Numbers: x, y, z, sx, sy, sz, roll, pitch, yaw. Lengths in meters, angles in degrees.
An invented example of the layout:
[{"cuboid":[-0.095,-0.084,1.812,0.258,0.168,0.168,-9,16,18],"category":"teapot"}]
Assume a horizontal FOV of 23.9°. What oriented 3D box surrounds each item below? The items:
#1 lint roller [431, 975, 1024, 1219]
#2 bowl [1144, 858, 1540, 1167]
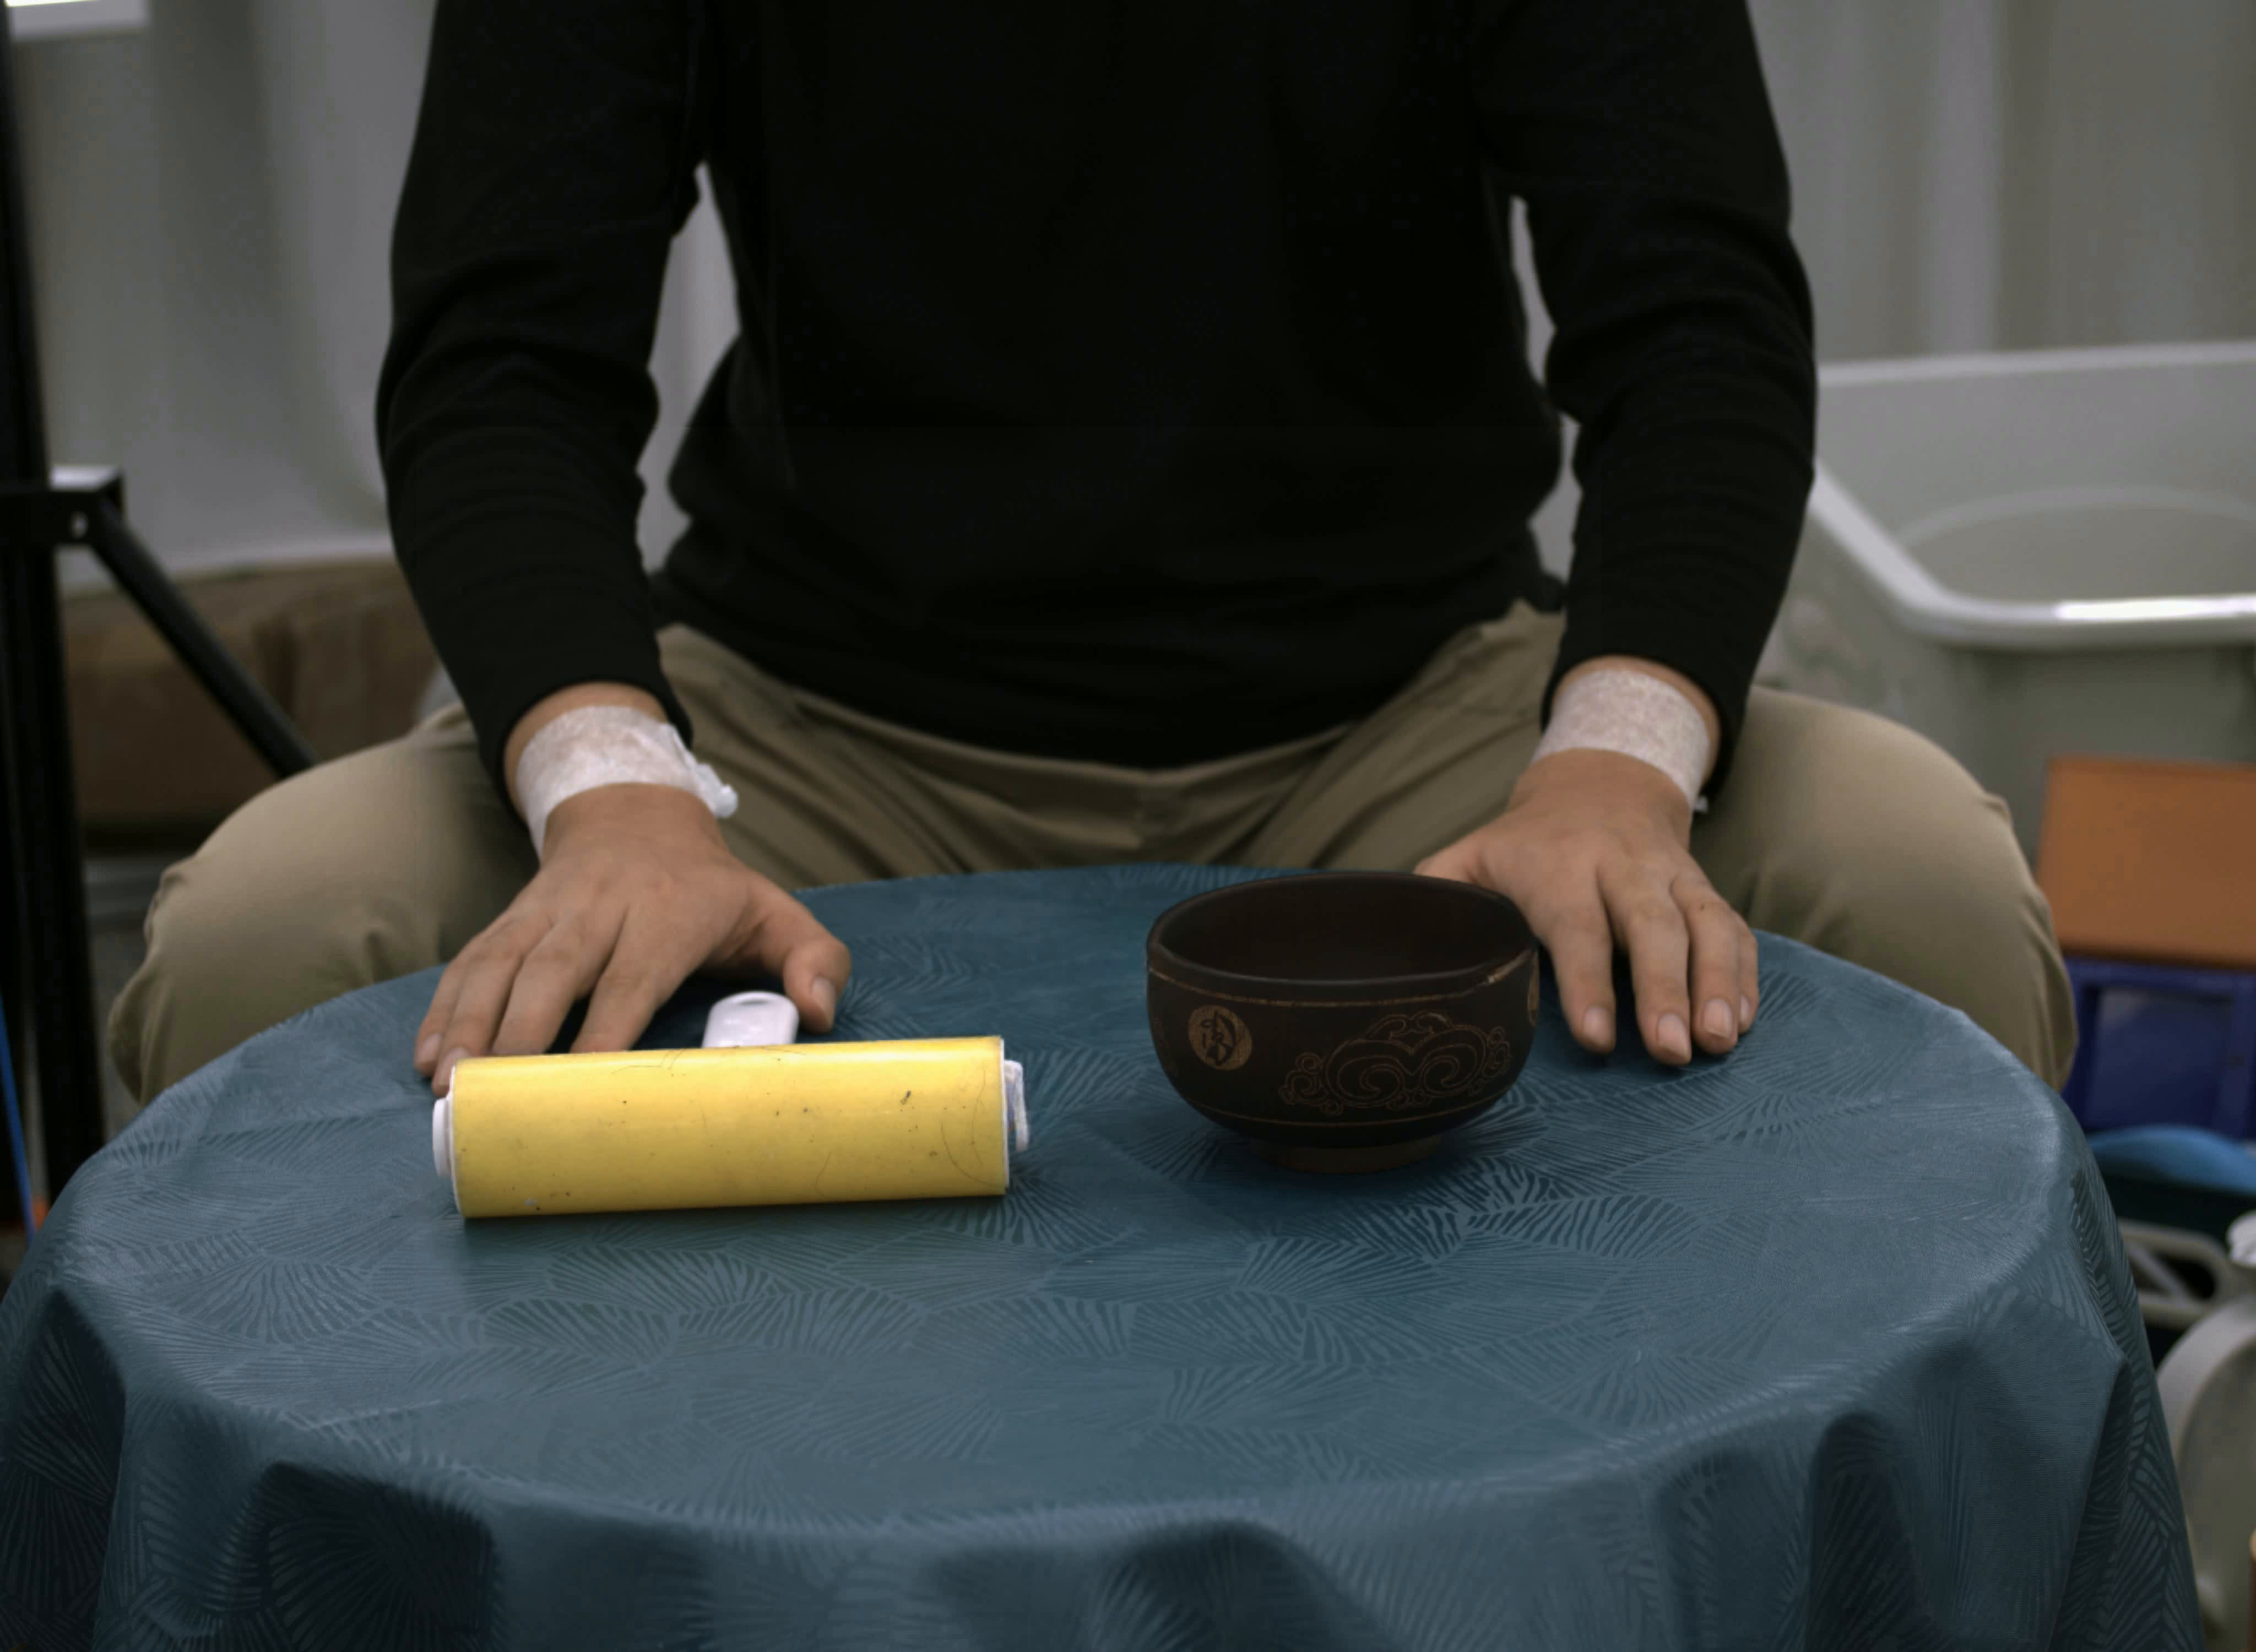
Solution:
[{"cuboid":[-0.122,0.066,1.629,0.173,0.051,0.193,-3,20,-2],"category":"lint roller"},{"cuboid":[0.064,0.060,1.581,0.117,0.070,0.118,-2,17,-1],"category":"bowl"}]
